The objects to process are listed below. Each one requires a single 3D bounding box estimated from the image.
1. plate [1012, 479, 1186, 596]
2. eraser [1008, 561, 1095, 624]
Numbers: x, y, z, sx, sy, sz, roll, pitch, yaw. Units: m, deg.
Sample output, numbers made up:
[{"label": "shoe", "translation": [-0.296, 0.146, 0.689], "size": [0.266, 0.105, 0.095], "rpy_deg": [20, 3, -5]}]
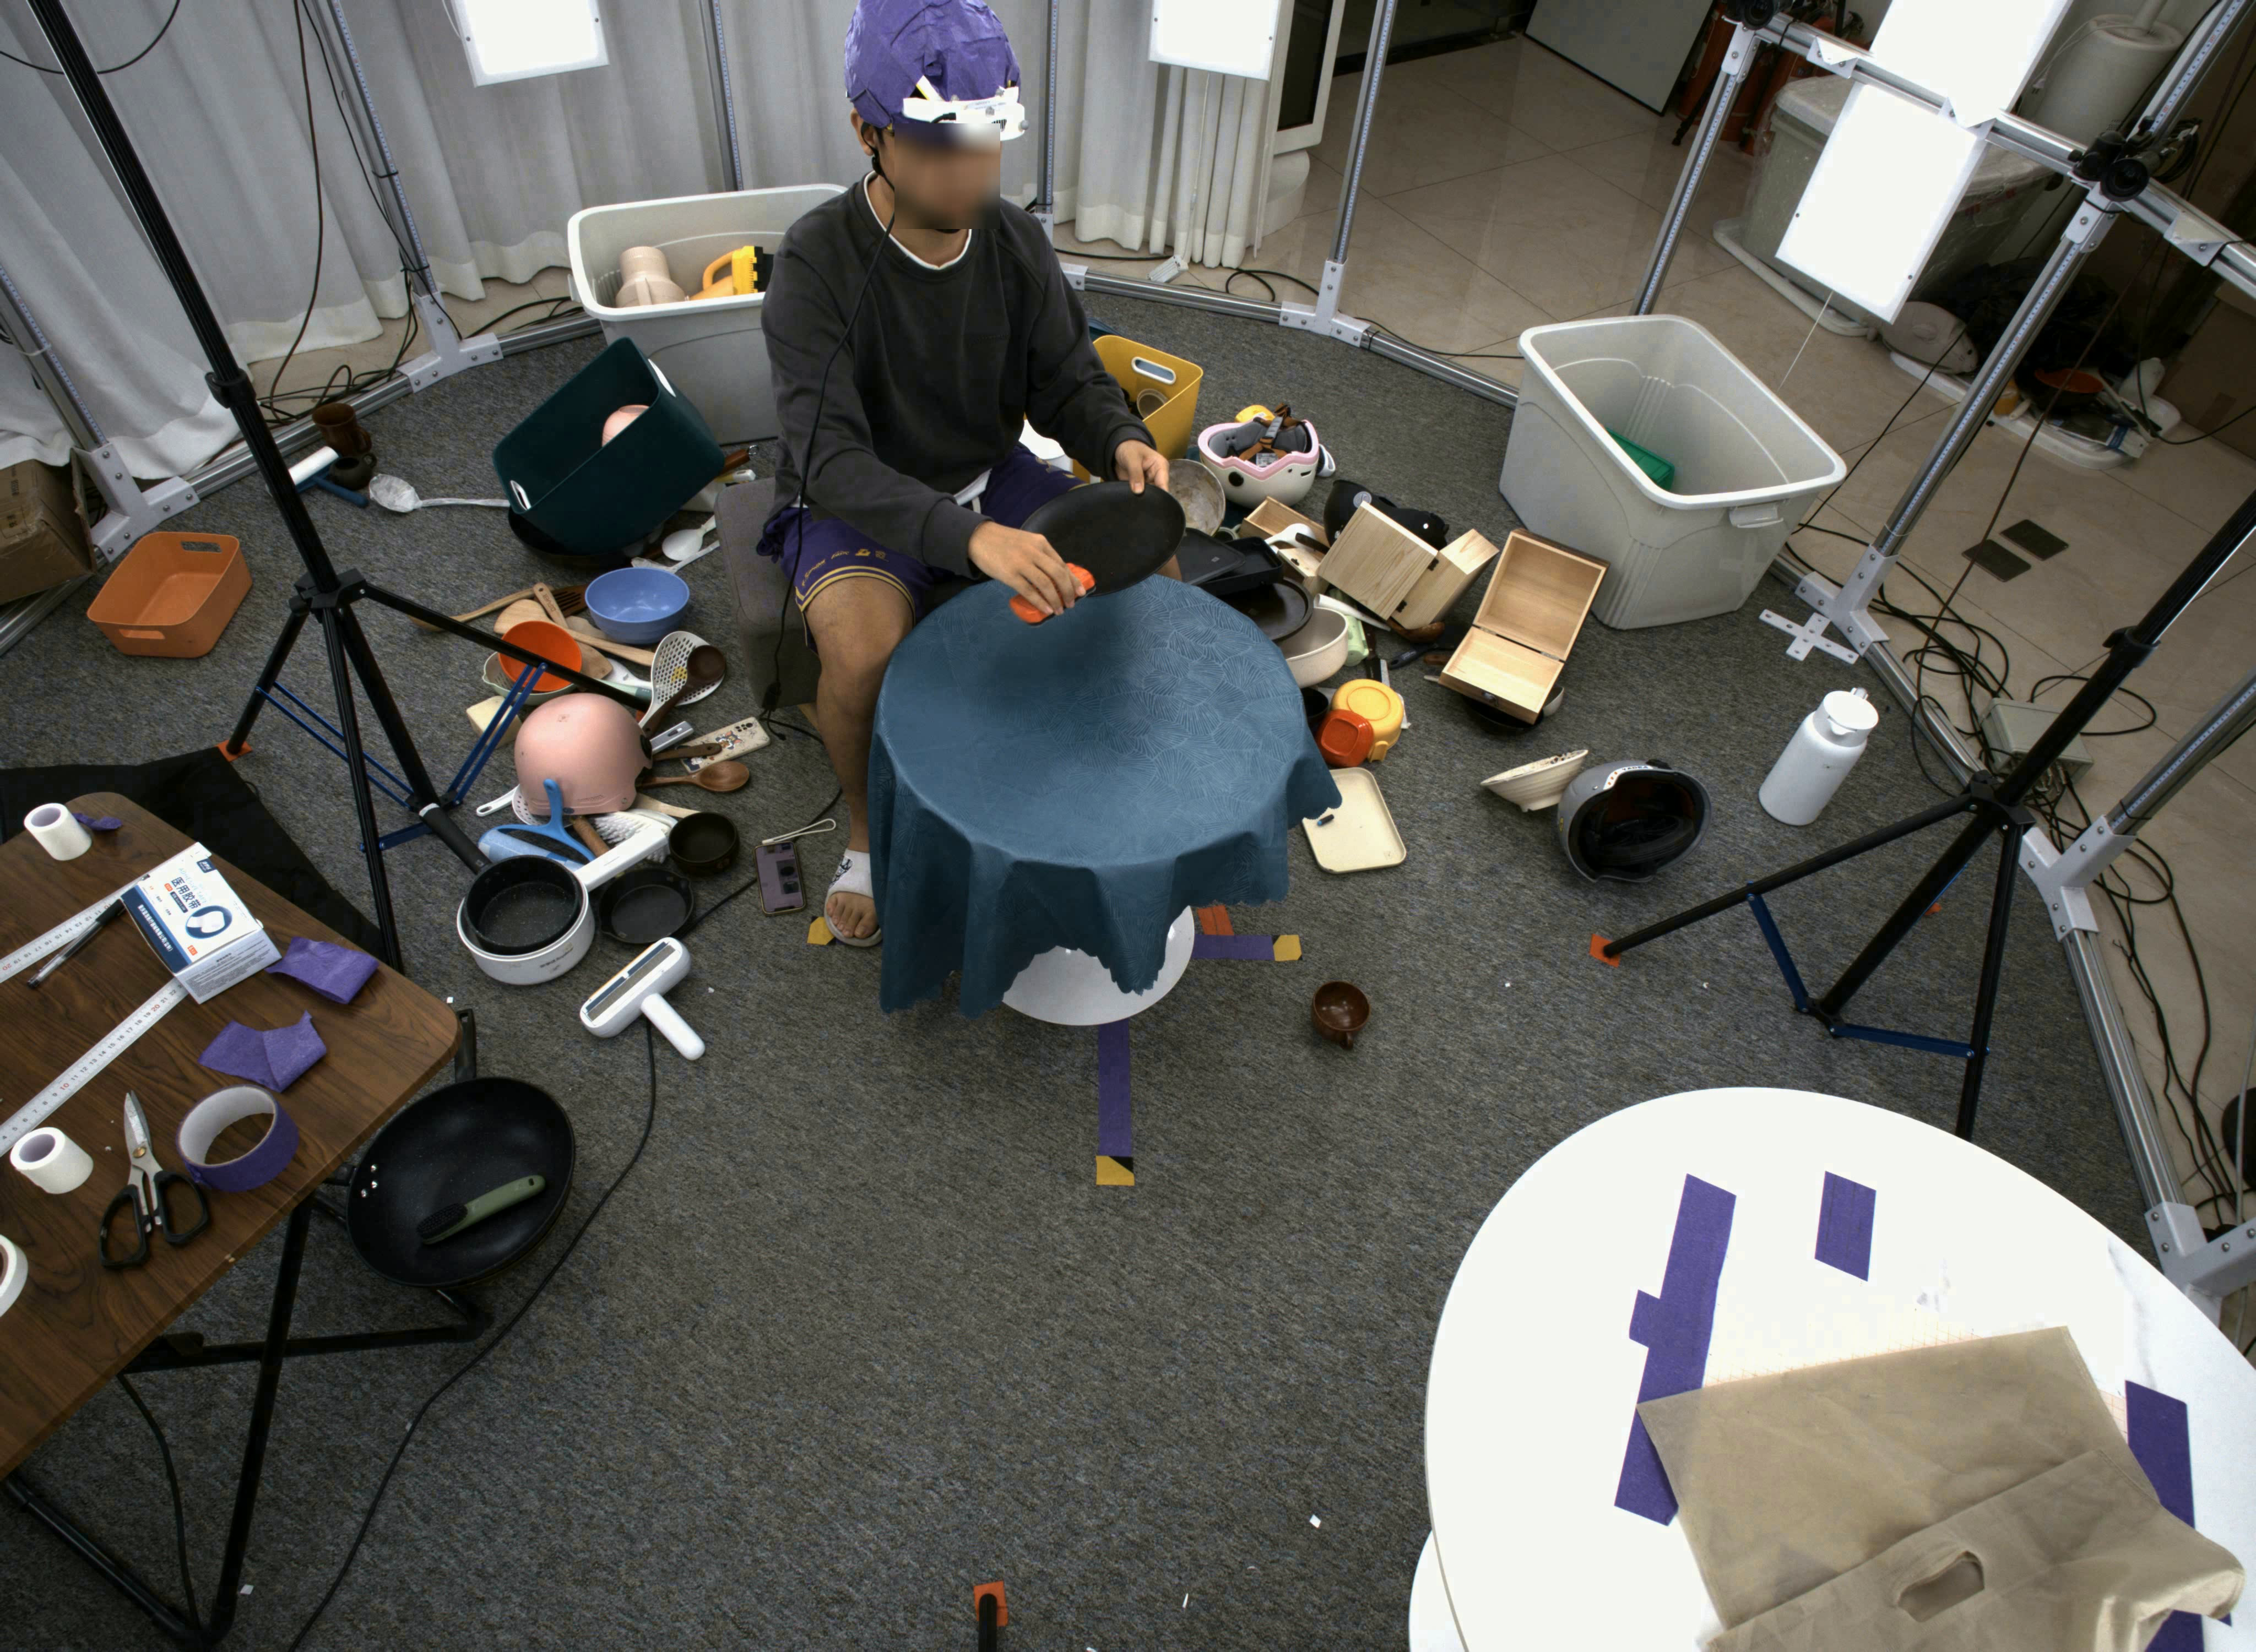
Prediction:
[{"label": "plate", "translation": [-0.039, -0.390, 1.762], "size": [0.244, 0.023, 0.250], "rpy_deg": [-8, 48, 9]}, {"label": "eraser", "translation": [-0.099, -0.304, 1.667], "size": [0.109, 0.022, 0.060], "rpy_deg": [-36, 47, -25]}]
